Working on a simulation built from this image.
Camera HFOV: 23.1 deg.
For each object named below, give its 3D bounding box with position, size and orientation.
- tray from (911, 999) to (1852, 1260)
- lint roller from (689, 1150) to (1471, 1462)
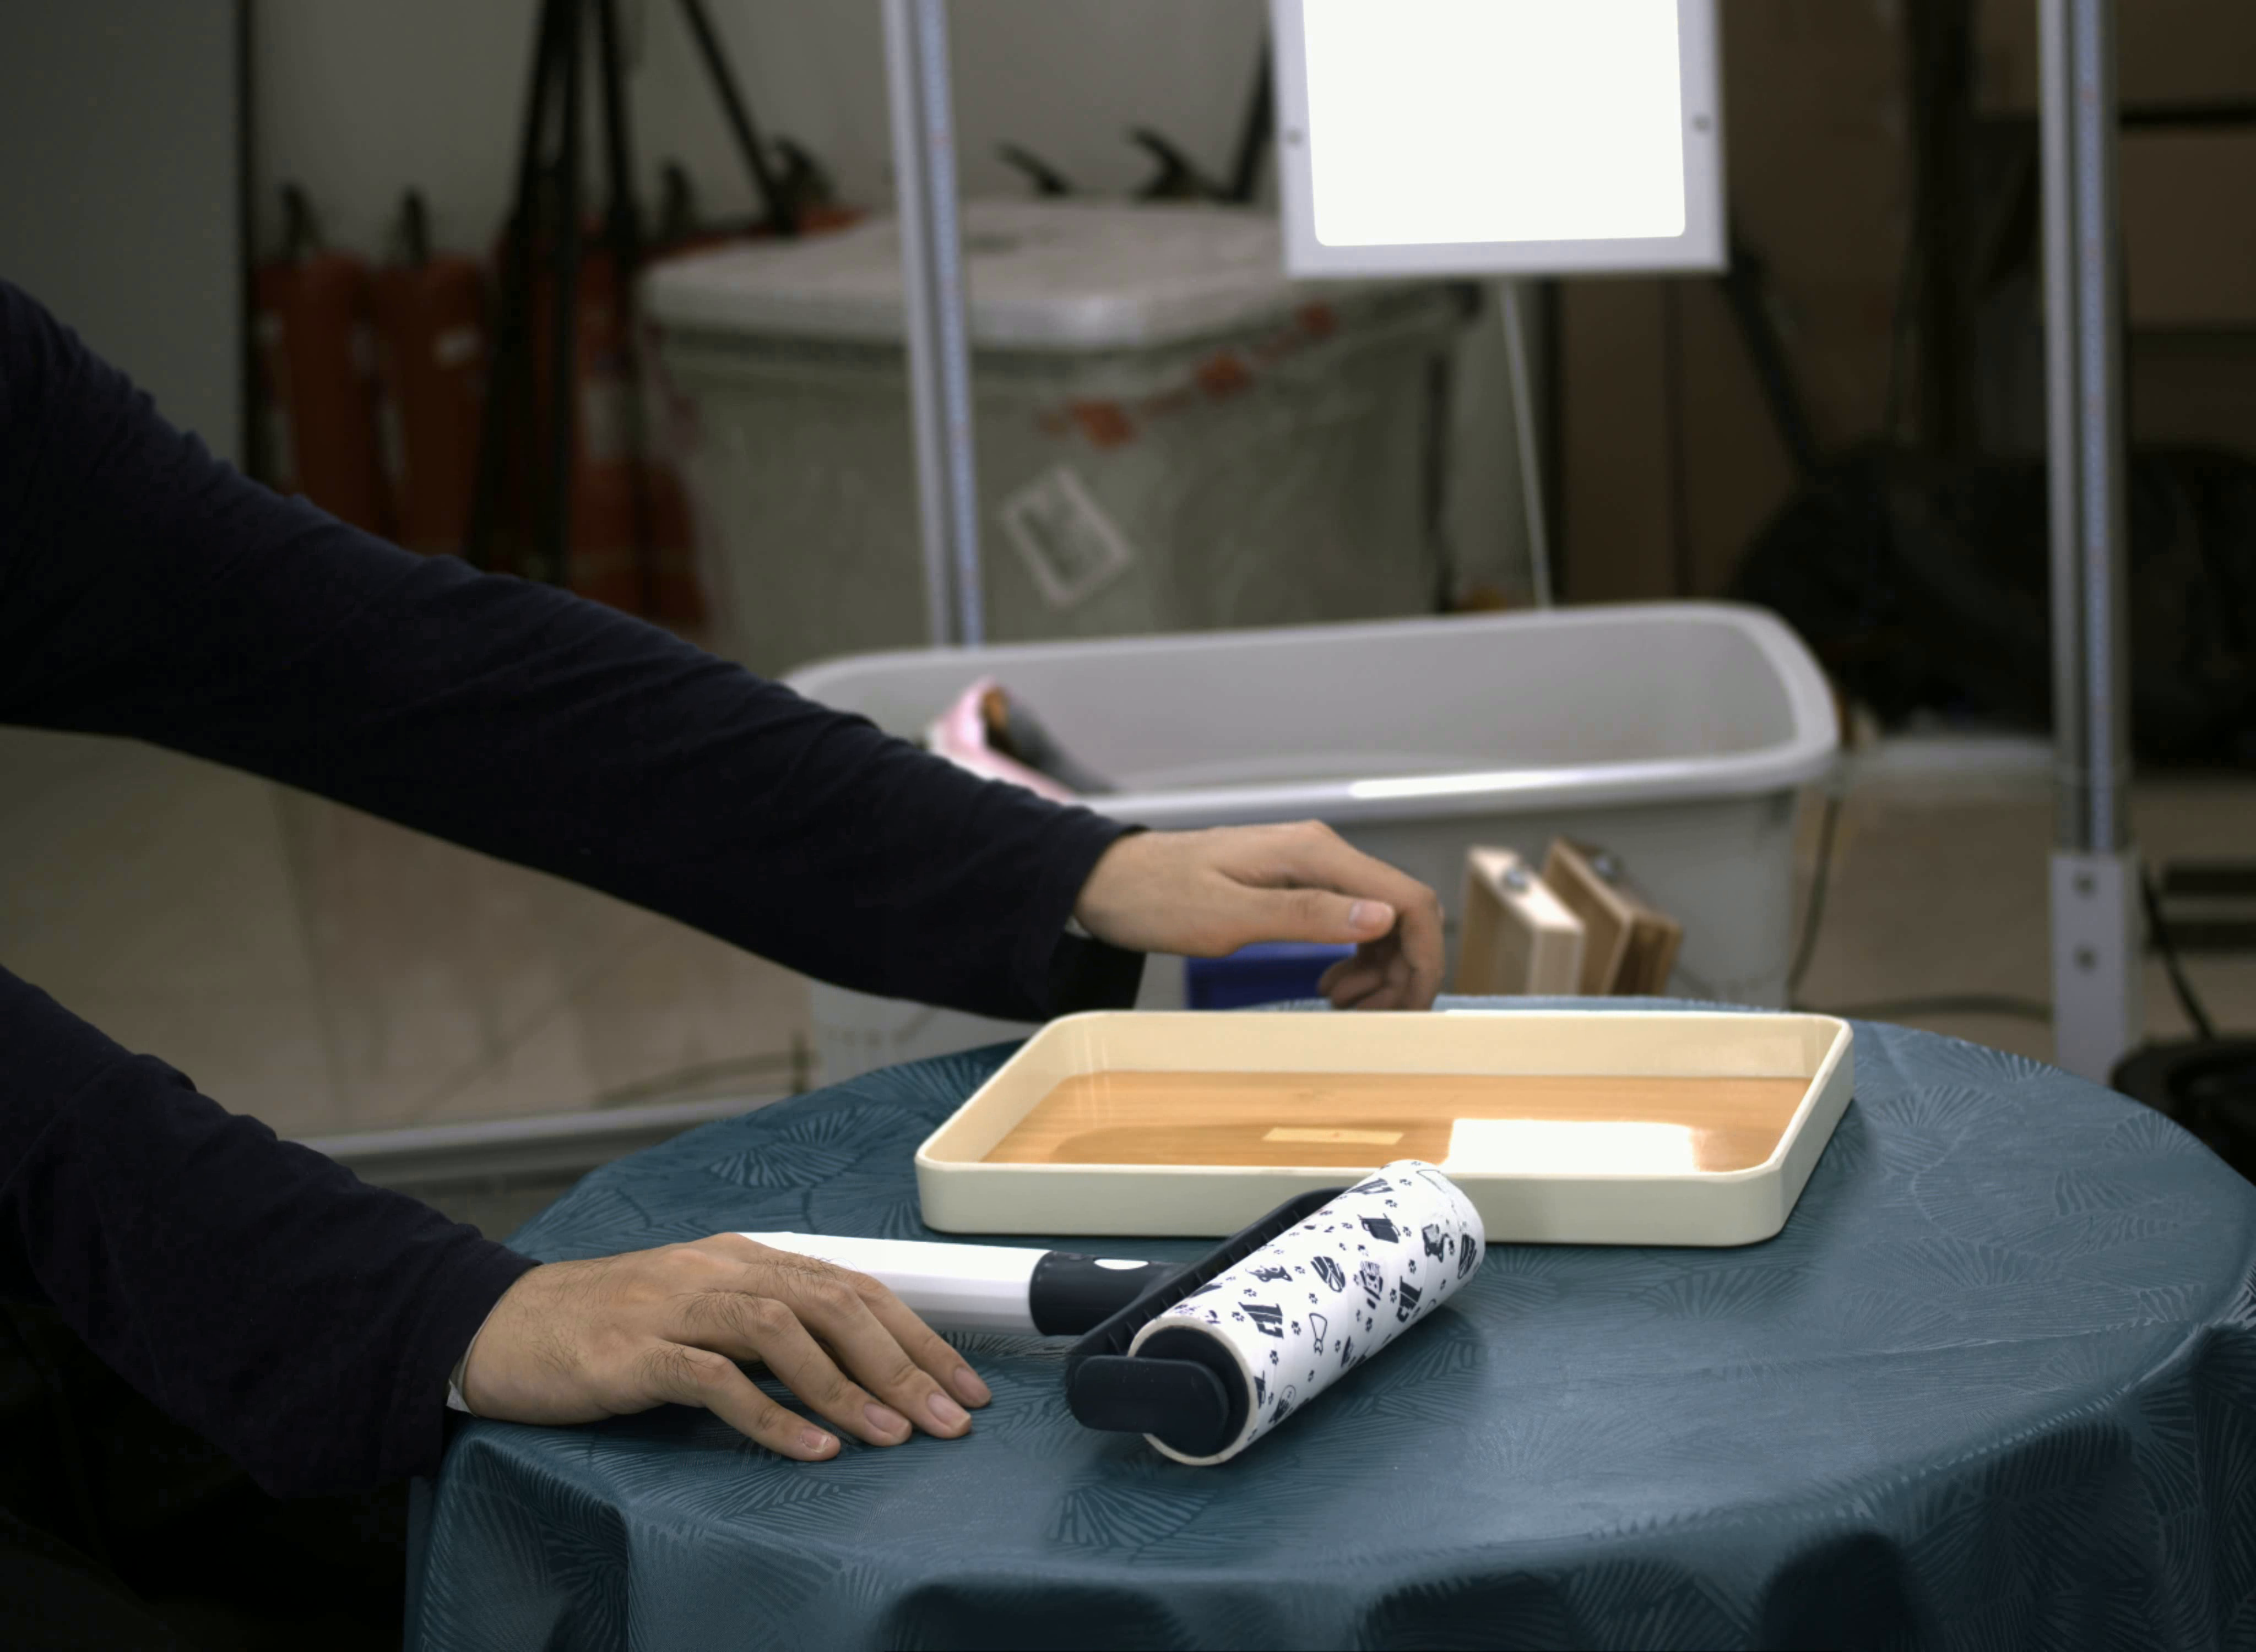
[{"bbox_3d":[0.092,0.103,1.908,0.304,0.027,0.188,0,17,19],"label":"tray"},{"bbox_3d":[-0.035,0.146,1.745,0.252,0.050,0.172,0,15,30],"label":"lint roller"}]
